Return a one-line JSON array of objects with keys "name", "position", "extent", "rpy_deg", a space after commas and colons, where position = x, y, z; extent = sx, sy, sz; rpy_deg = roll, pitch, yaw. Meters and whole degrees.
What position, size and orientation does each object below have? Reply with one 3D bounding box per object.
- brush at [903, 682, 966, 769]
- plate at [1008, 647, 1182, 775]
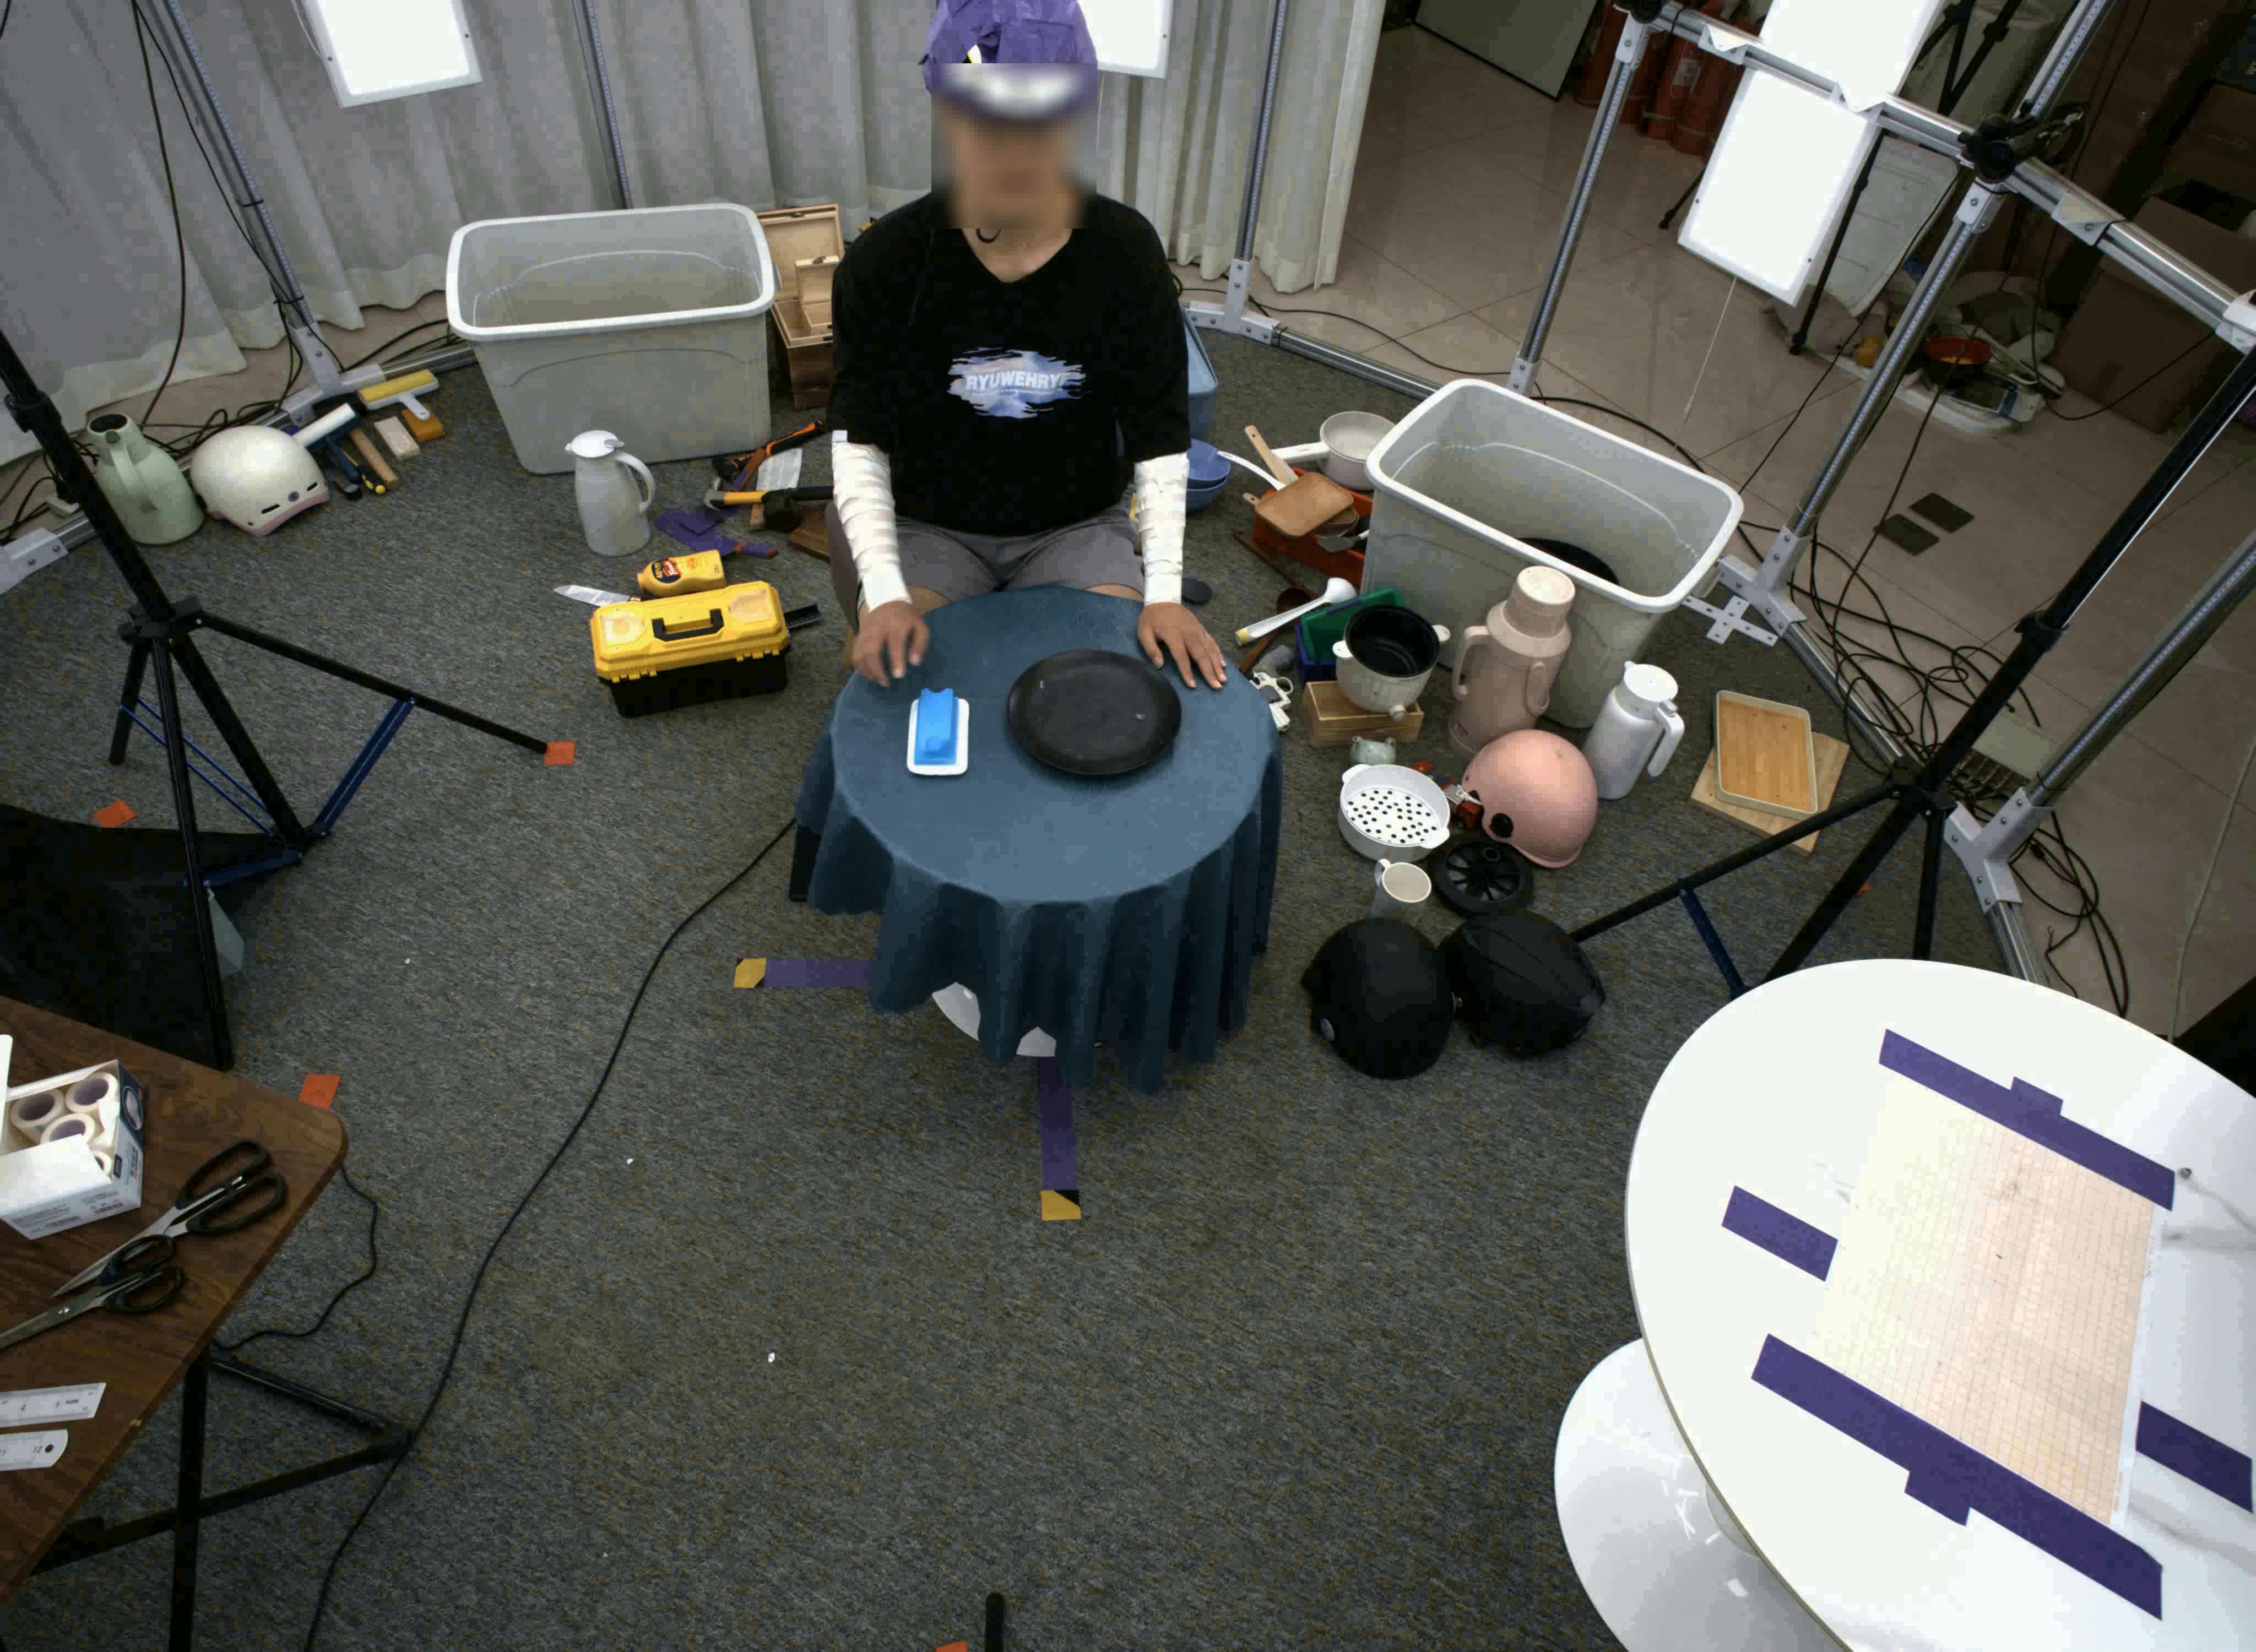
[{"name": "brush", "position": [-0.261, -0.143, 1.740], "extent": [0.083, 0.054, 0.147], "rpy_deg": [1, 52, -8]}, {"name": "plate", "position": [-0.046, -0.159, 1.792], "extent": [0.244, 0.023, 0.250], "rpy_deg": [2, 50, -2]}]
